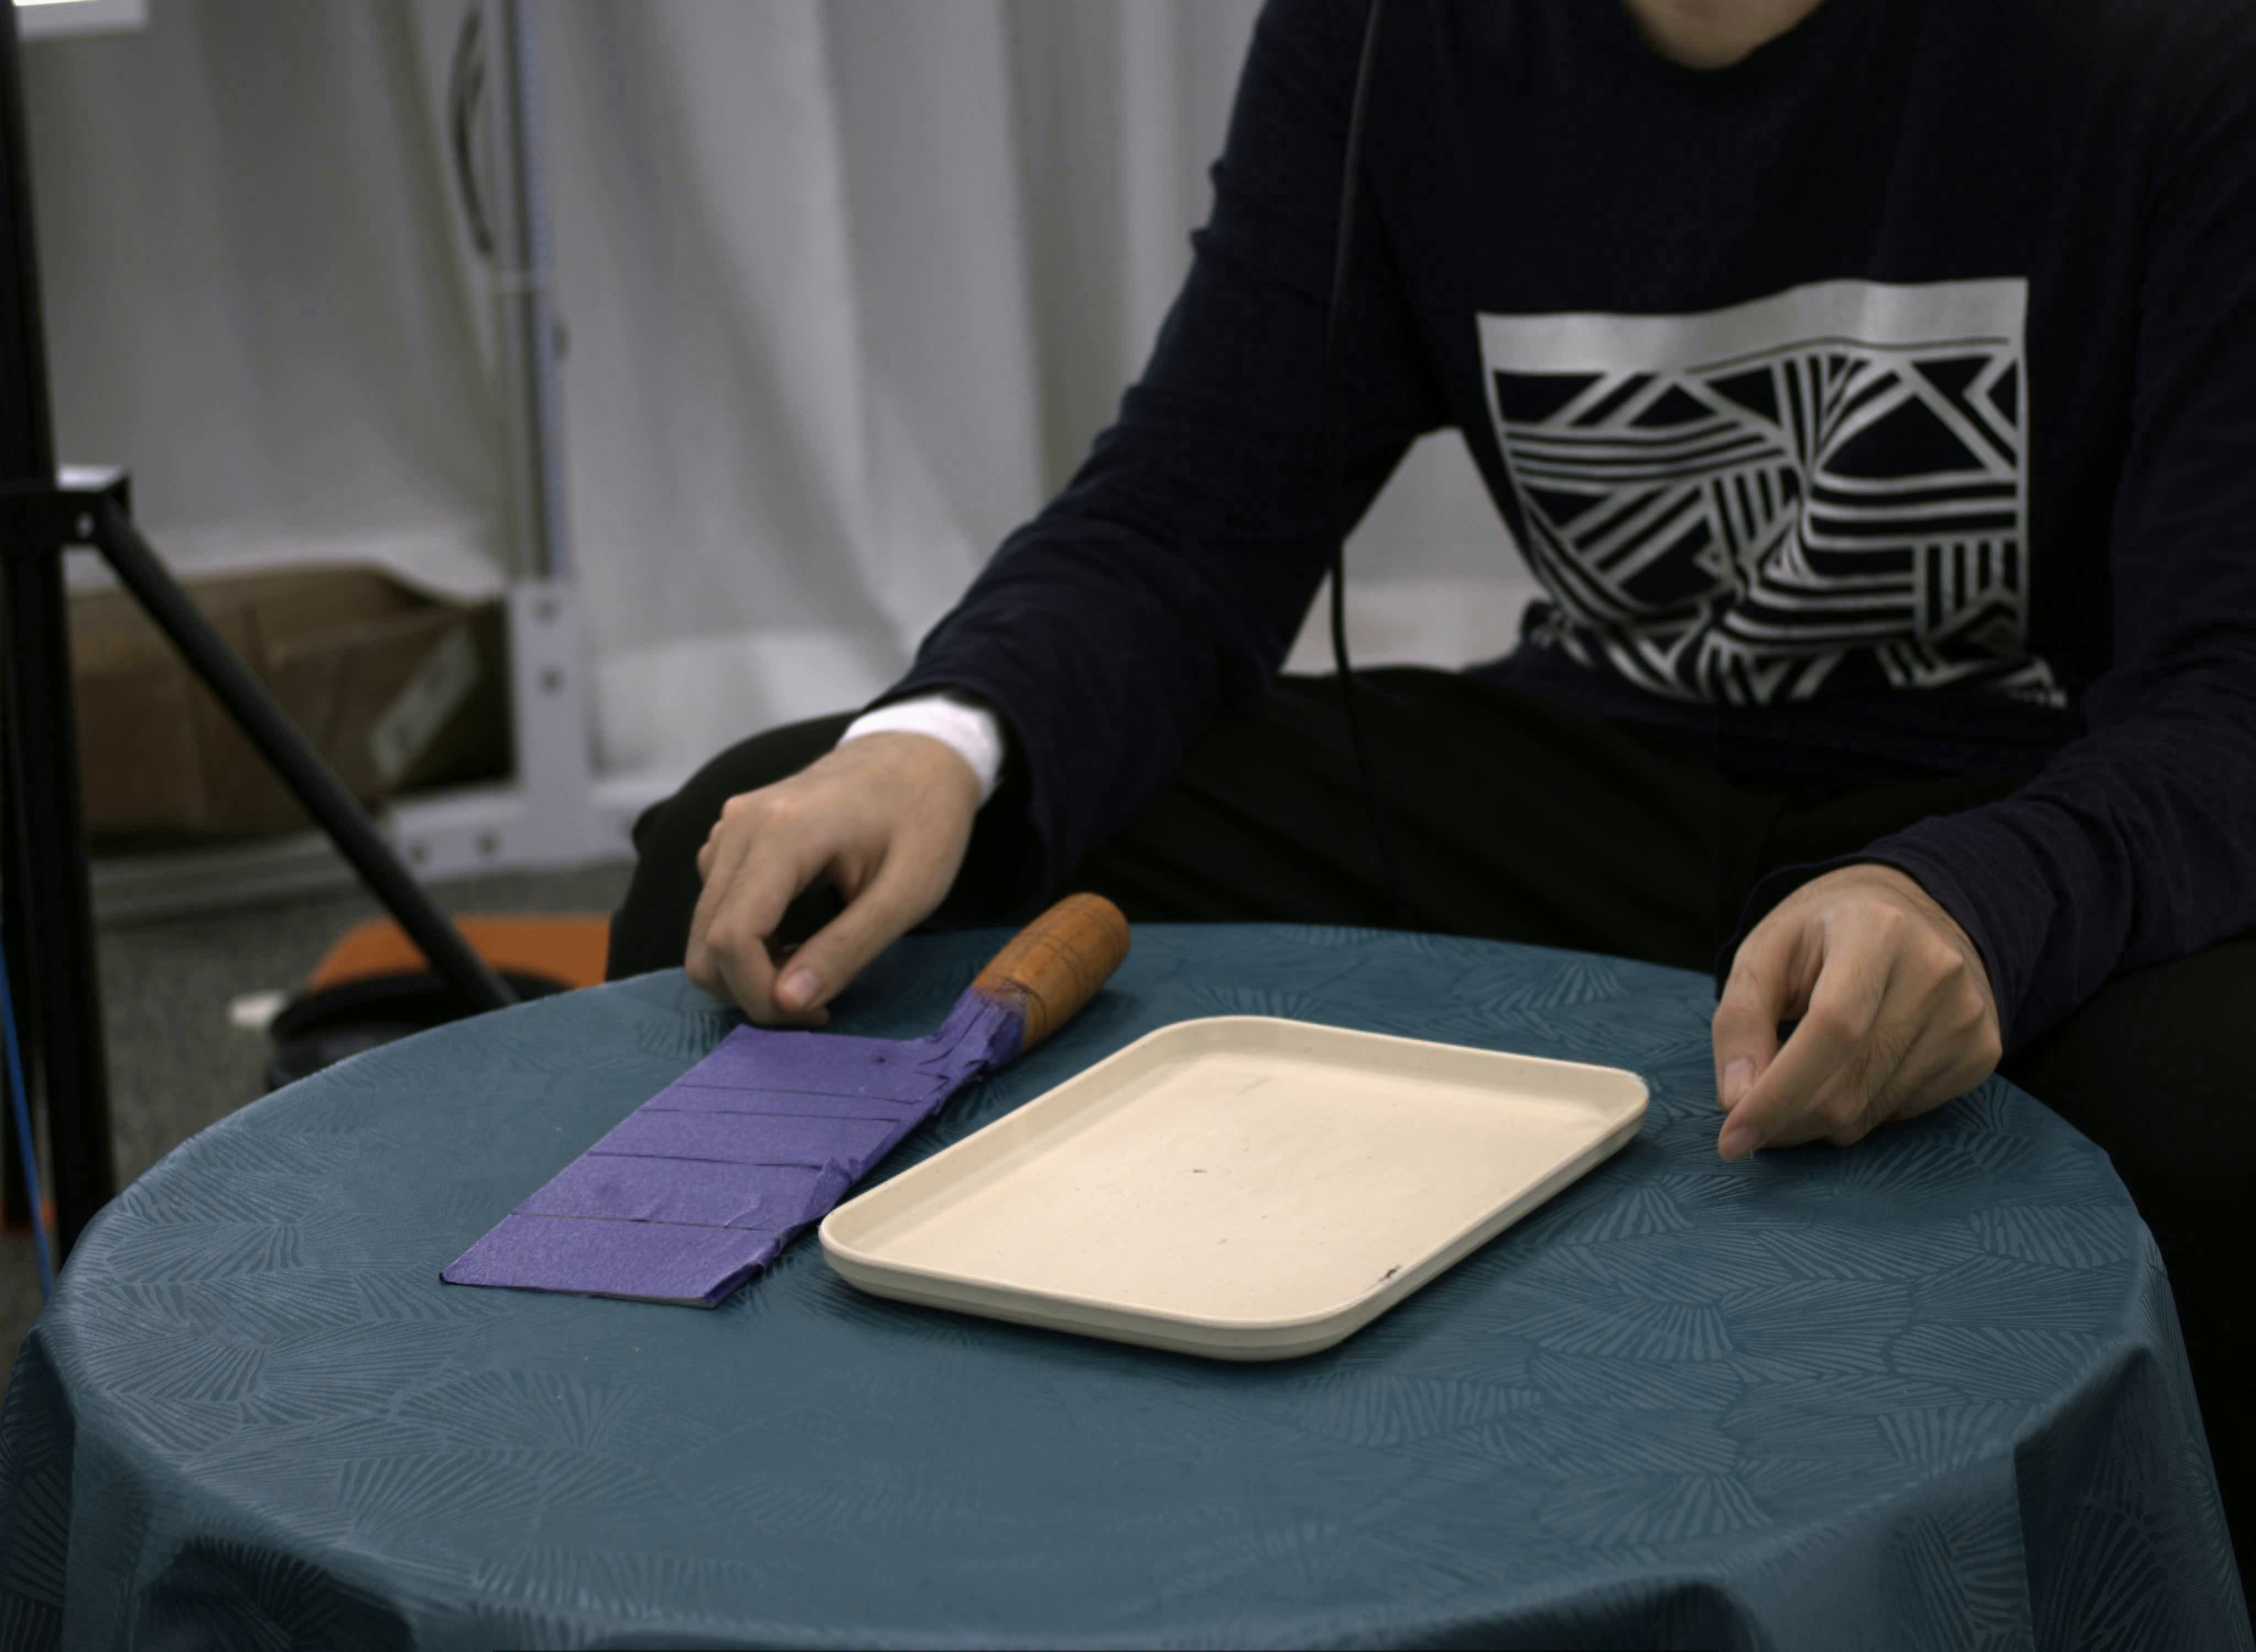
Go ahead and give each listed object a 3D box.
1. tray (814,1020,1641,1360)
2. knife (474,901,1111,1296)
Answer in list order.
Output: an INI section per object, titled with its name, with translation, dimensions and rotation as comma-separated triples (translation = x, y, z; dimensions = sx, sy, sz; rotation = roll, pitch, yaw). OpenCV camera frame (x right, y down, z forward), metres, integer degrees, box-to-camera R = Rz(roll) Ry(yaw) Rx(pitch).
[tray]
translation = 0.033, 0.104, 1.539
dimensions = 0.174, 0.017, 0.235
rotation = 7, 18, 31
[knife]
translation = -0.099, 0.079, 1.630
dimensions = 0.105, 0.032, 0.311
rotation = 4, 17, 21
